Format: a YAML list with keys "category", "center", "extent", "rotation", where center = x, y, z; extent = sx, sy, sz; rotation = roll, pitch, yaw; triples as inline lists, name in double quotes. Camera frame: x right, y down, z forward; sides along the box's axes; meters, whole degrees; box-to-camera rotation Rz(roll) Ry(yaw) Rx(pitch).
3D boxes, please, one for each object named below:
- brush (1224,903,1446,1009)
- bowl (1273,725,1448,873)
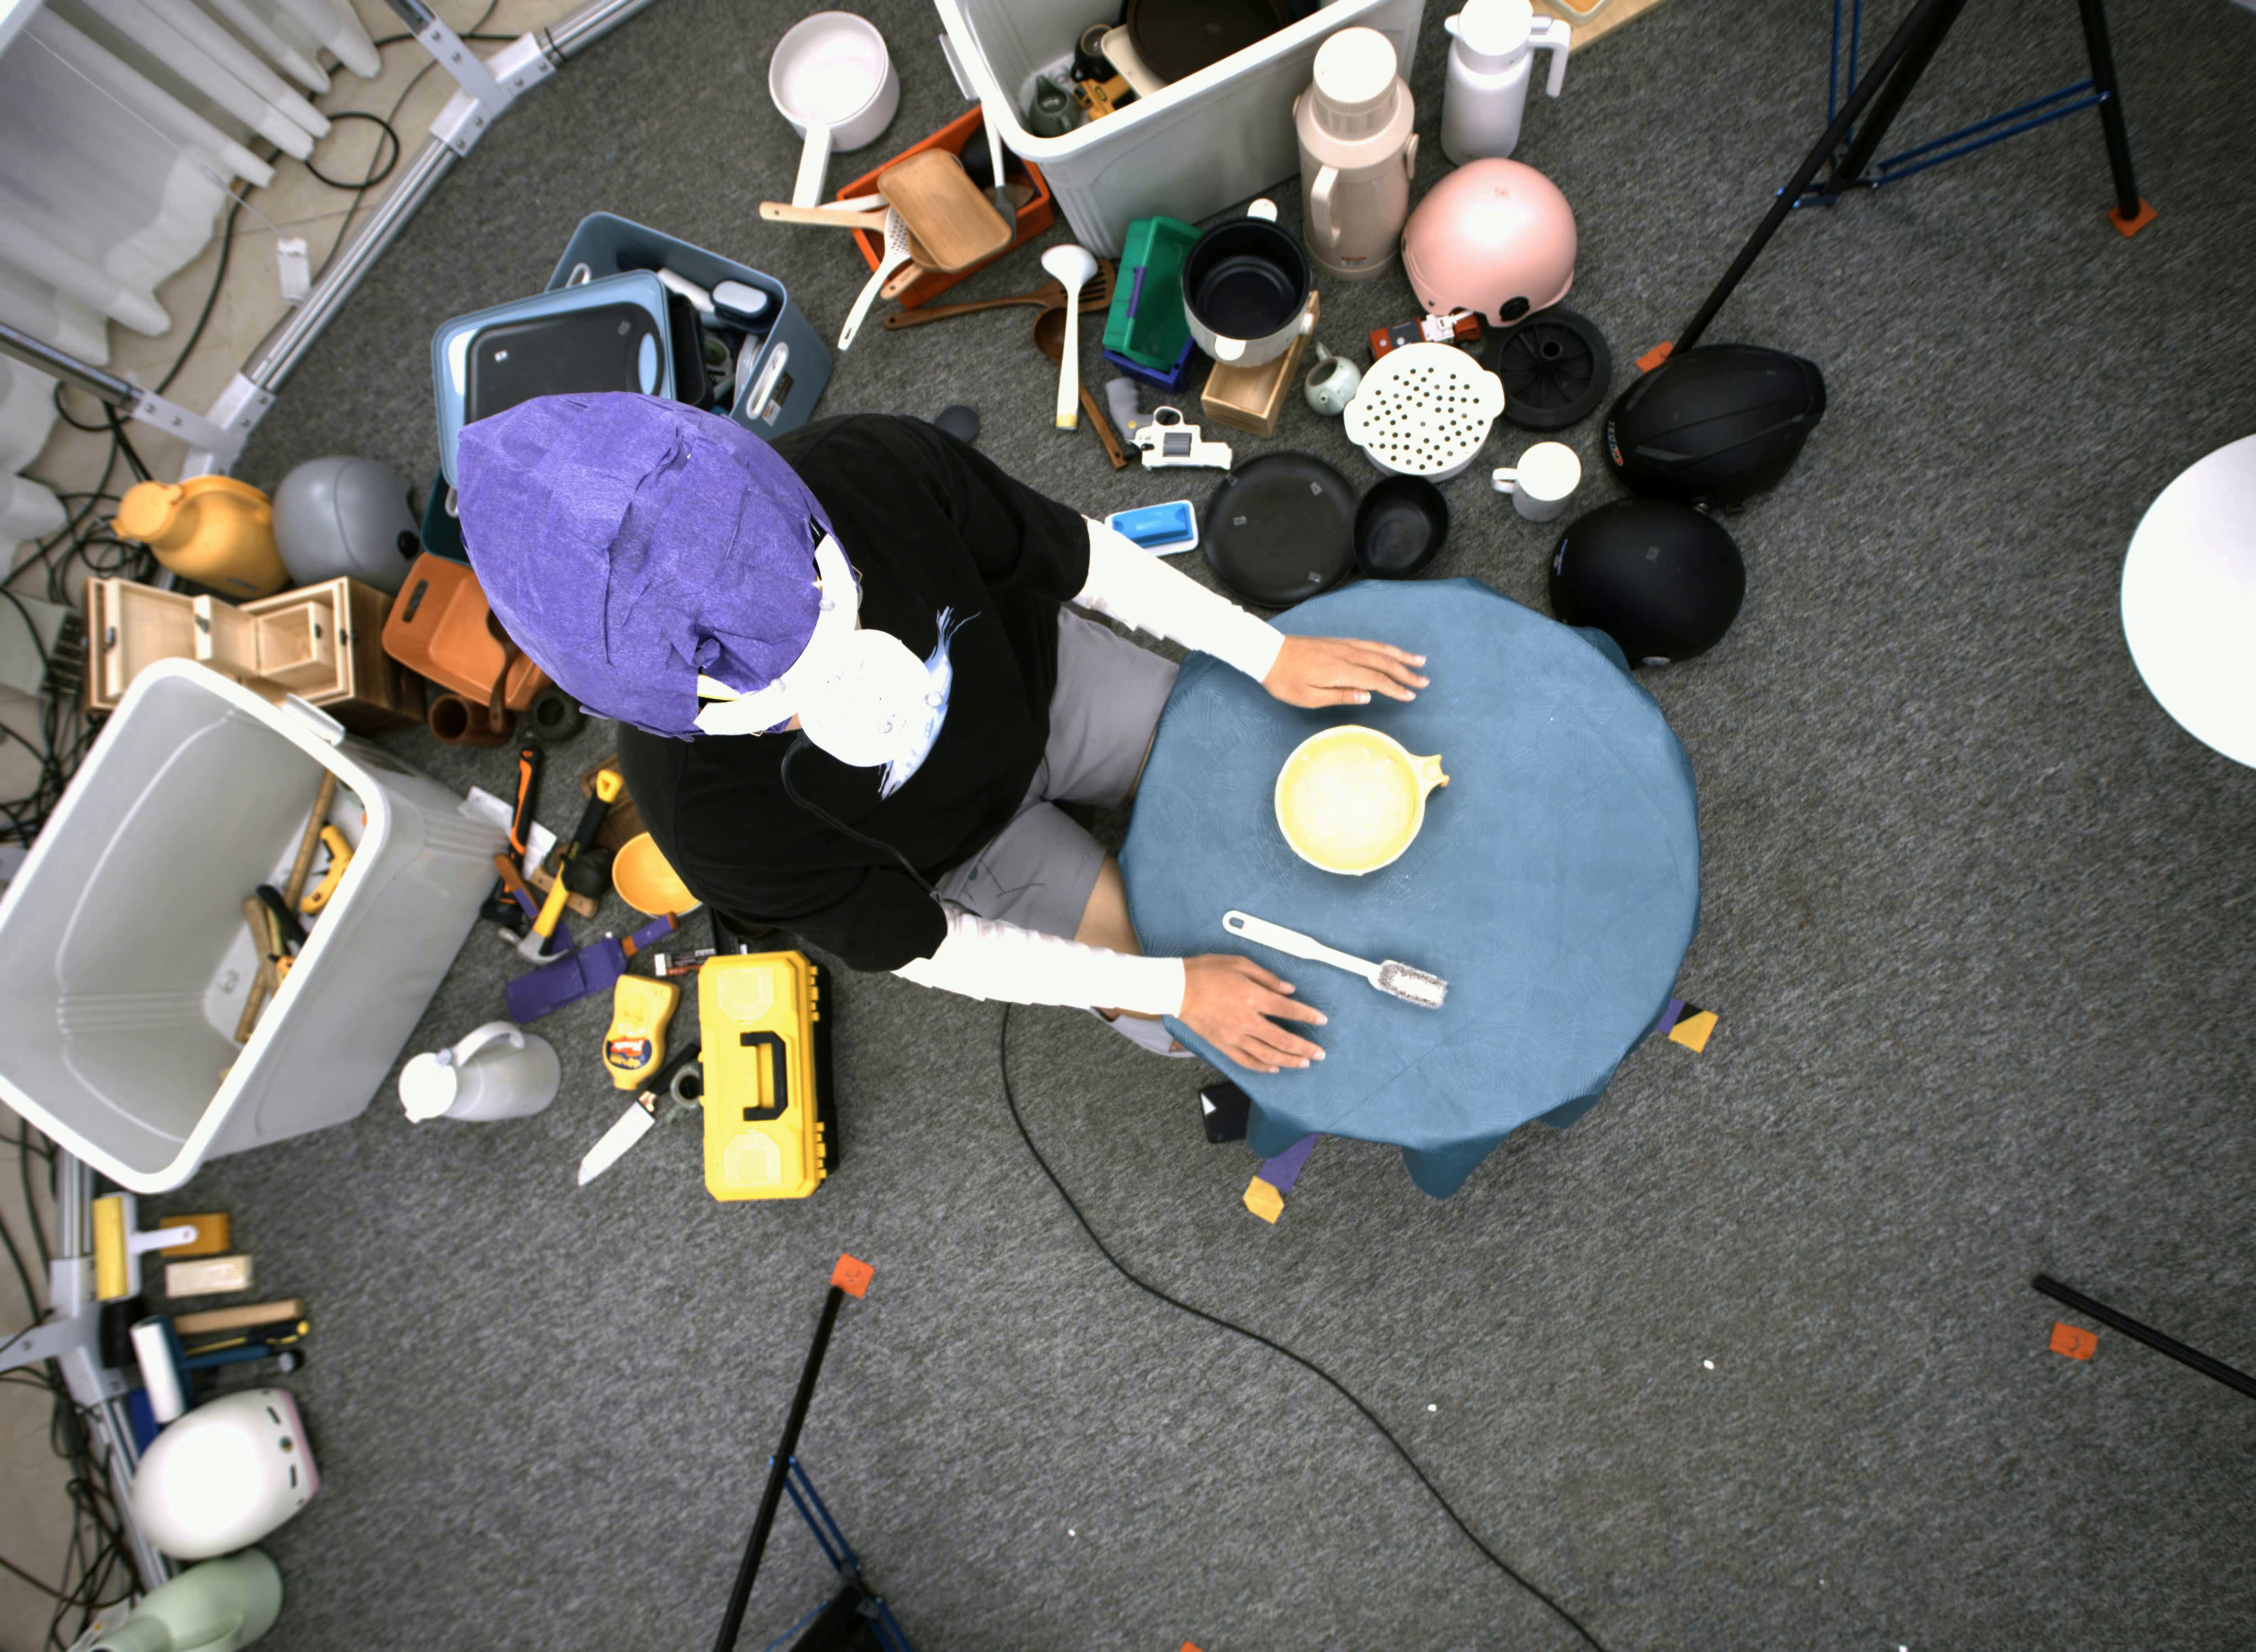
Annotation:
- category: "brush"
  center: [0.212, 0.131, 1.441]
  extent: [0.243, 0.050, 0.034]
  rotation: [21, 90, 11]
- category: "bowl"
  center: [0.243, -0.028, 1.434]
  extent: [0.180, 0.074, 0.151]
  rotation: [-22, 78, 8]
